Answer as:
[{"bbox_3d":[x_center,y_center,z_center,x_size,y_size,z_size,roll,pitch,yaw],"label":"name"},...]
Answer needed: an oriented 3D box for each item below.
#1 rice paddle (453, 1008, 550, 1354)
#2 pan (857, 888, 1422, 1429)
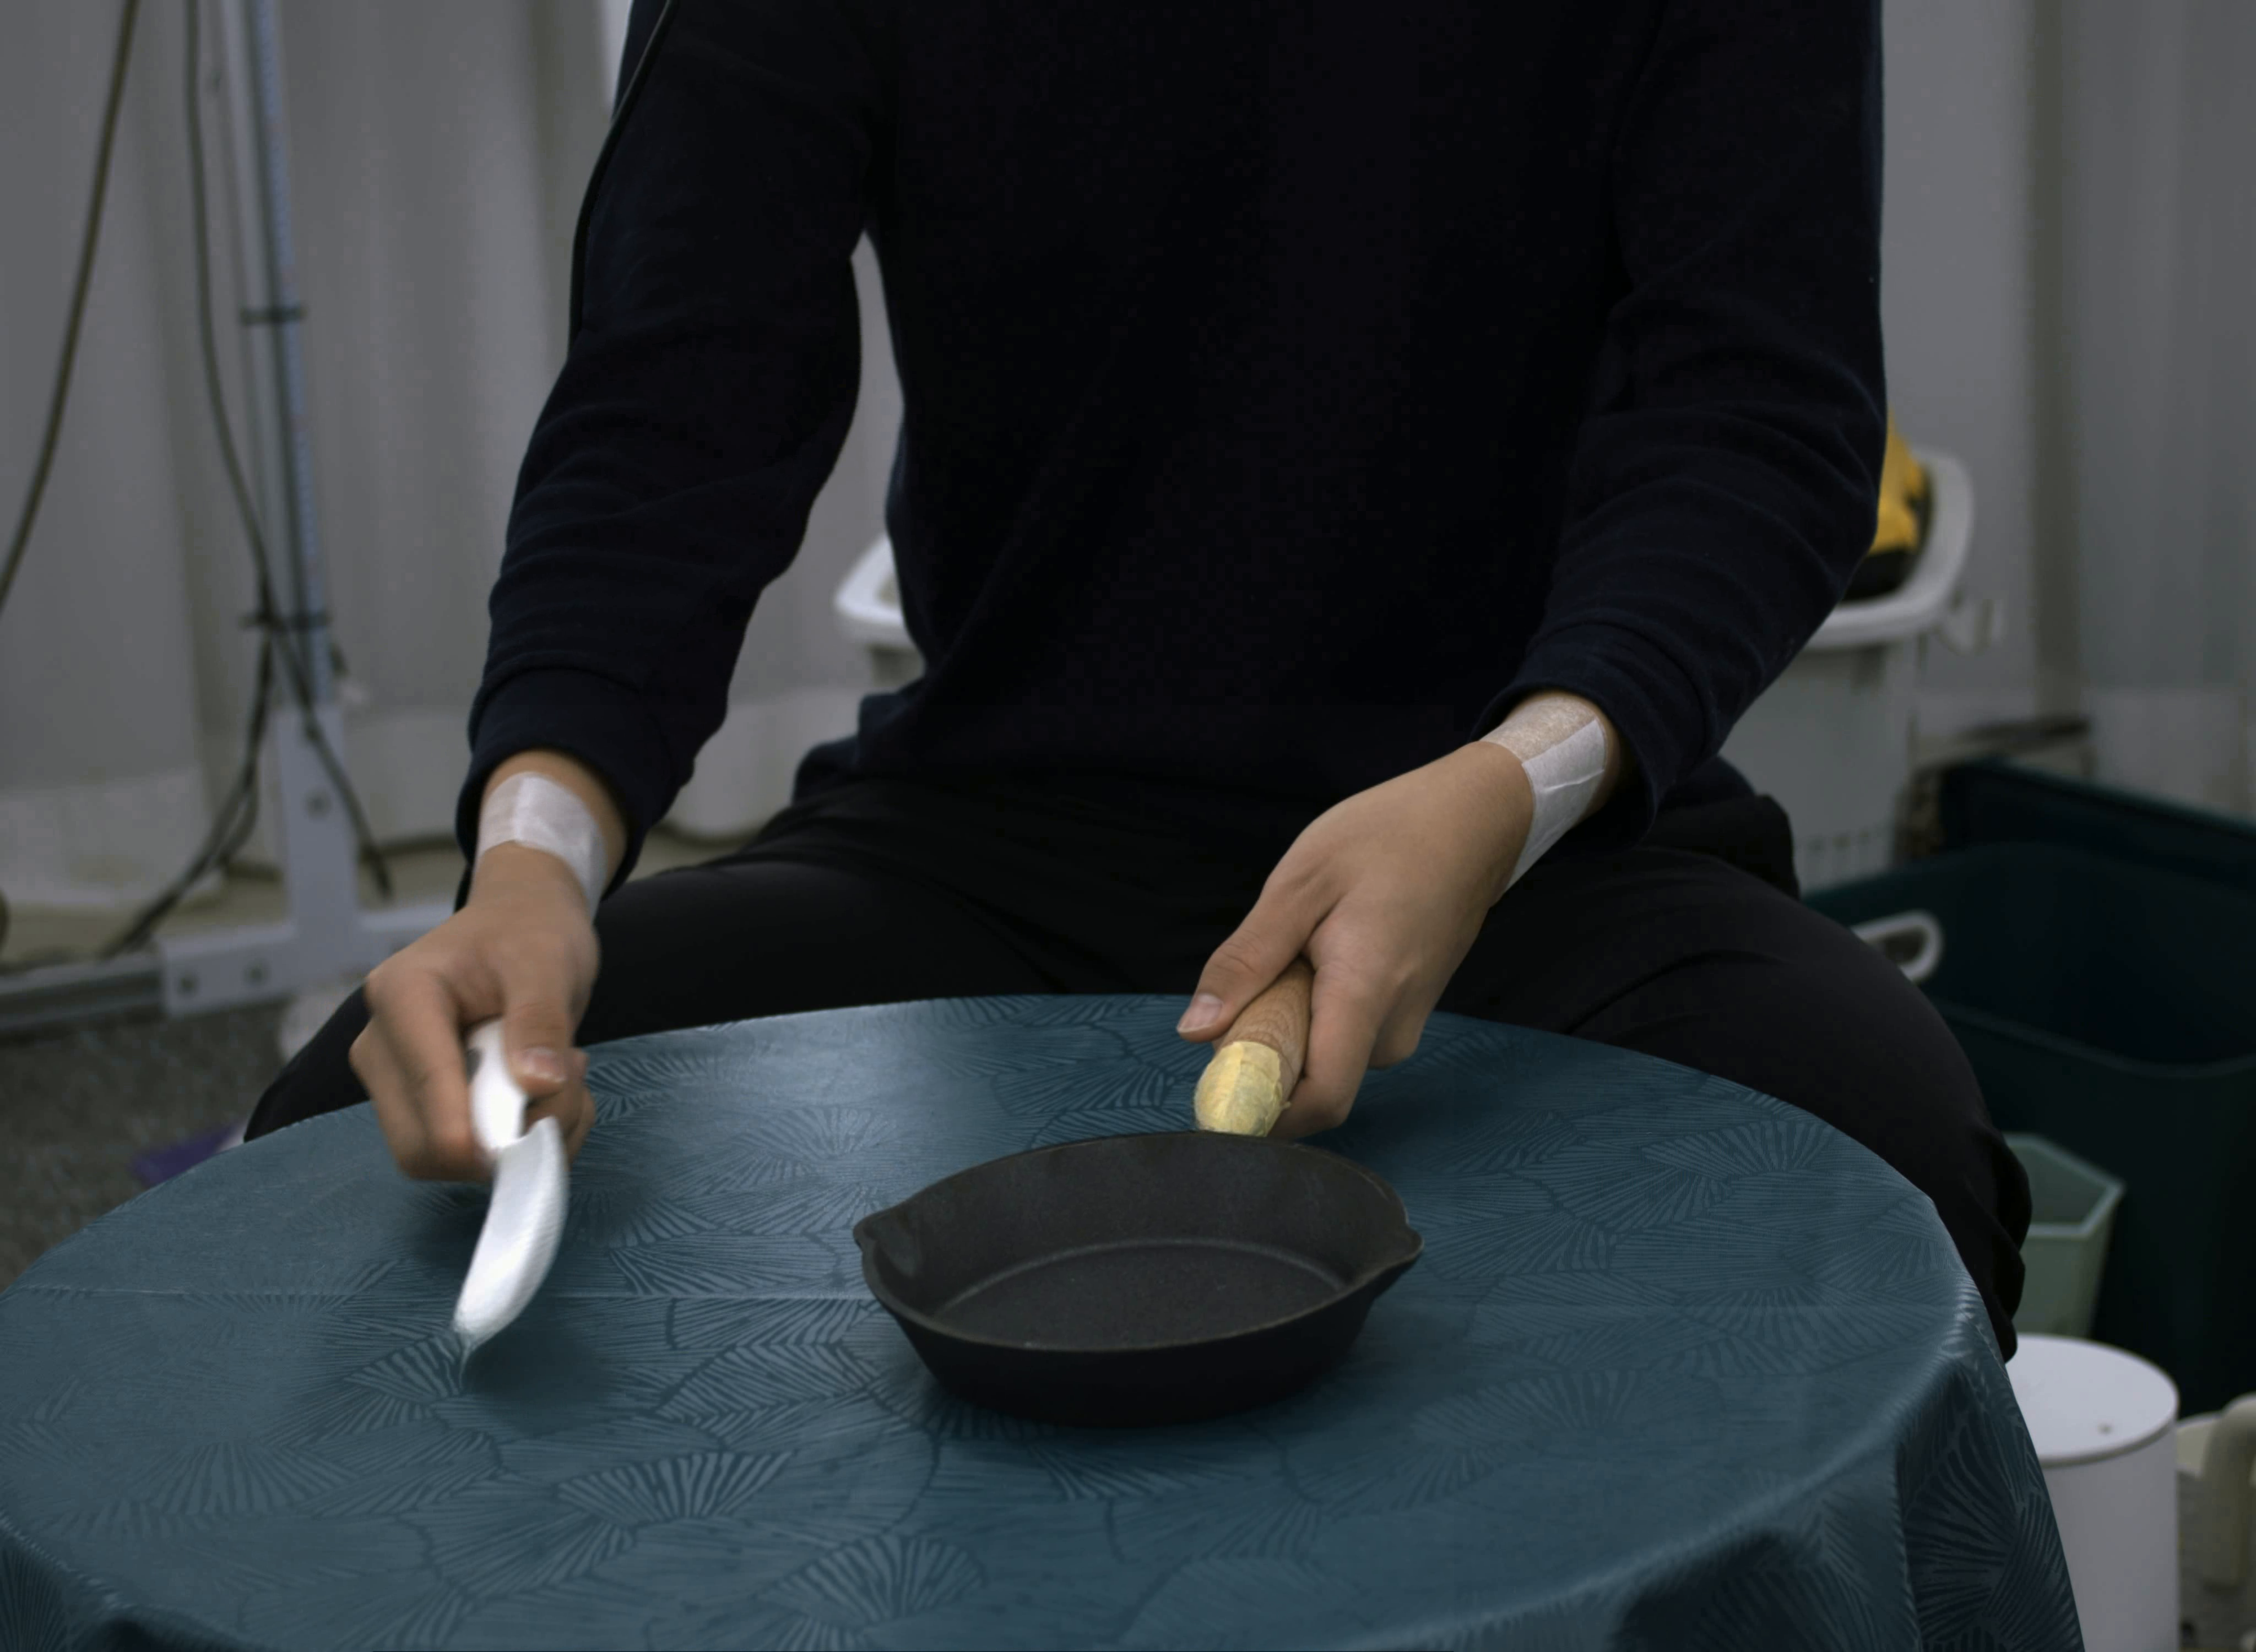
[{"bbox_3d":[-0.189,0.101,1.642,0.029,0.068,0.207,20,14,-11],"label":"rice paddle"},{"bbox_3d":[0.028,0.096,1.645,0.169,0.049,0.326,2,21,19],"label":"pan"}]
